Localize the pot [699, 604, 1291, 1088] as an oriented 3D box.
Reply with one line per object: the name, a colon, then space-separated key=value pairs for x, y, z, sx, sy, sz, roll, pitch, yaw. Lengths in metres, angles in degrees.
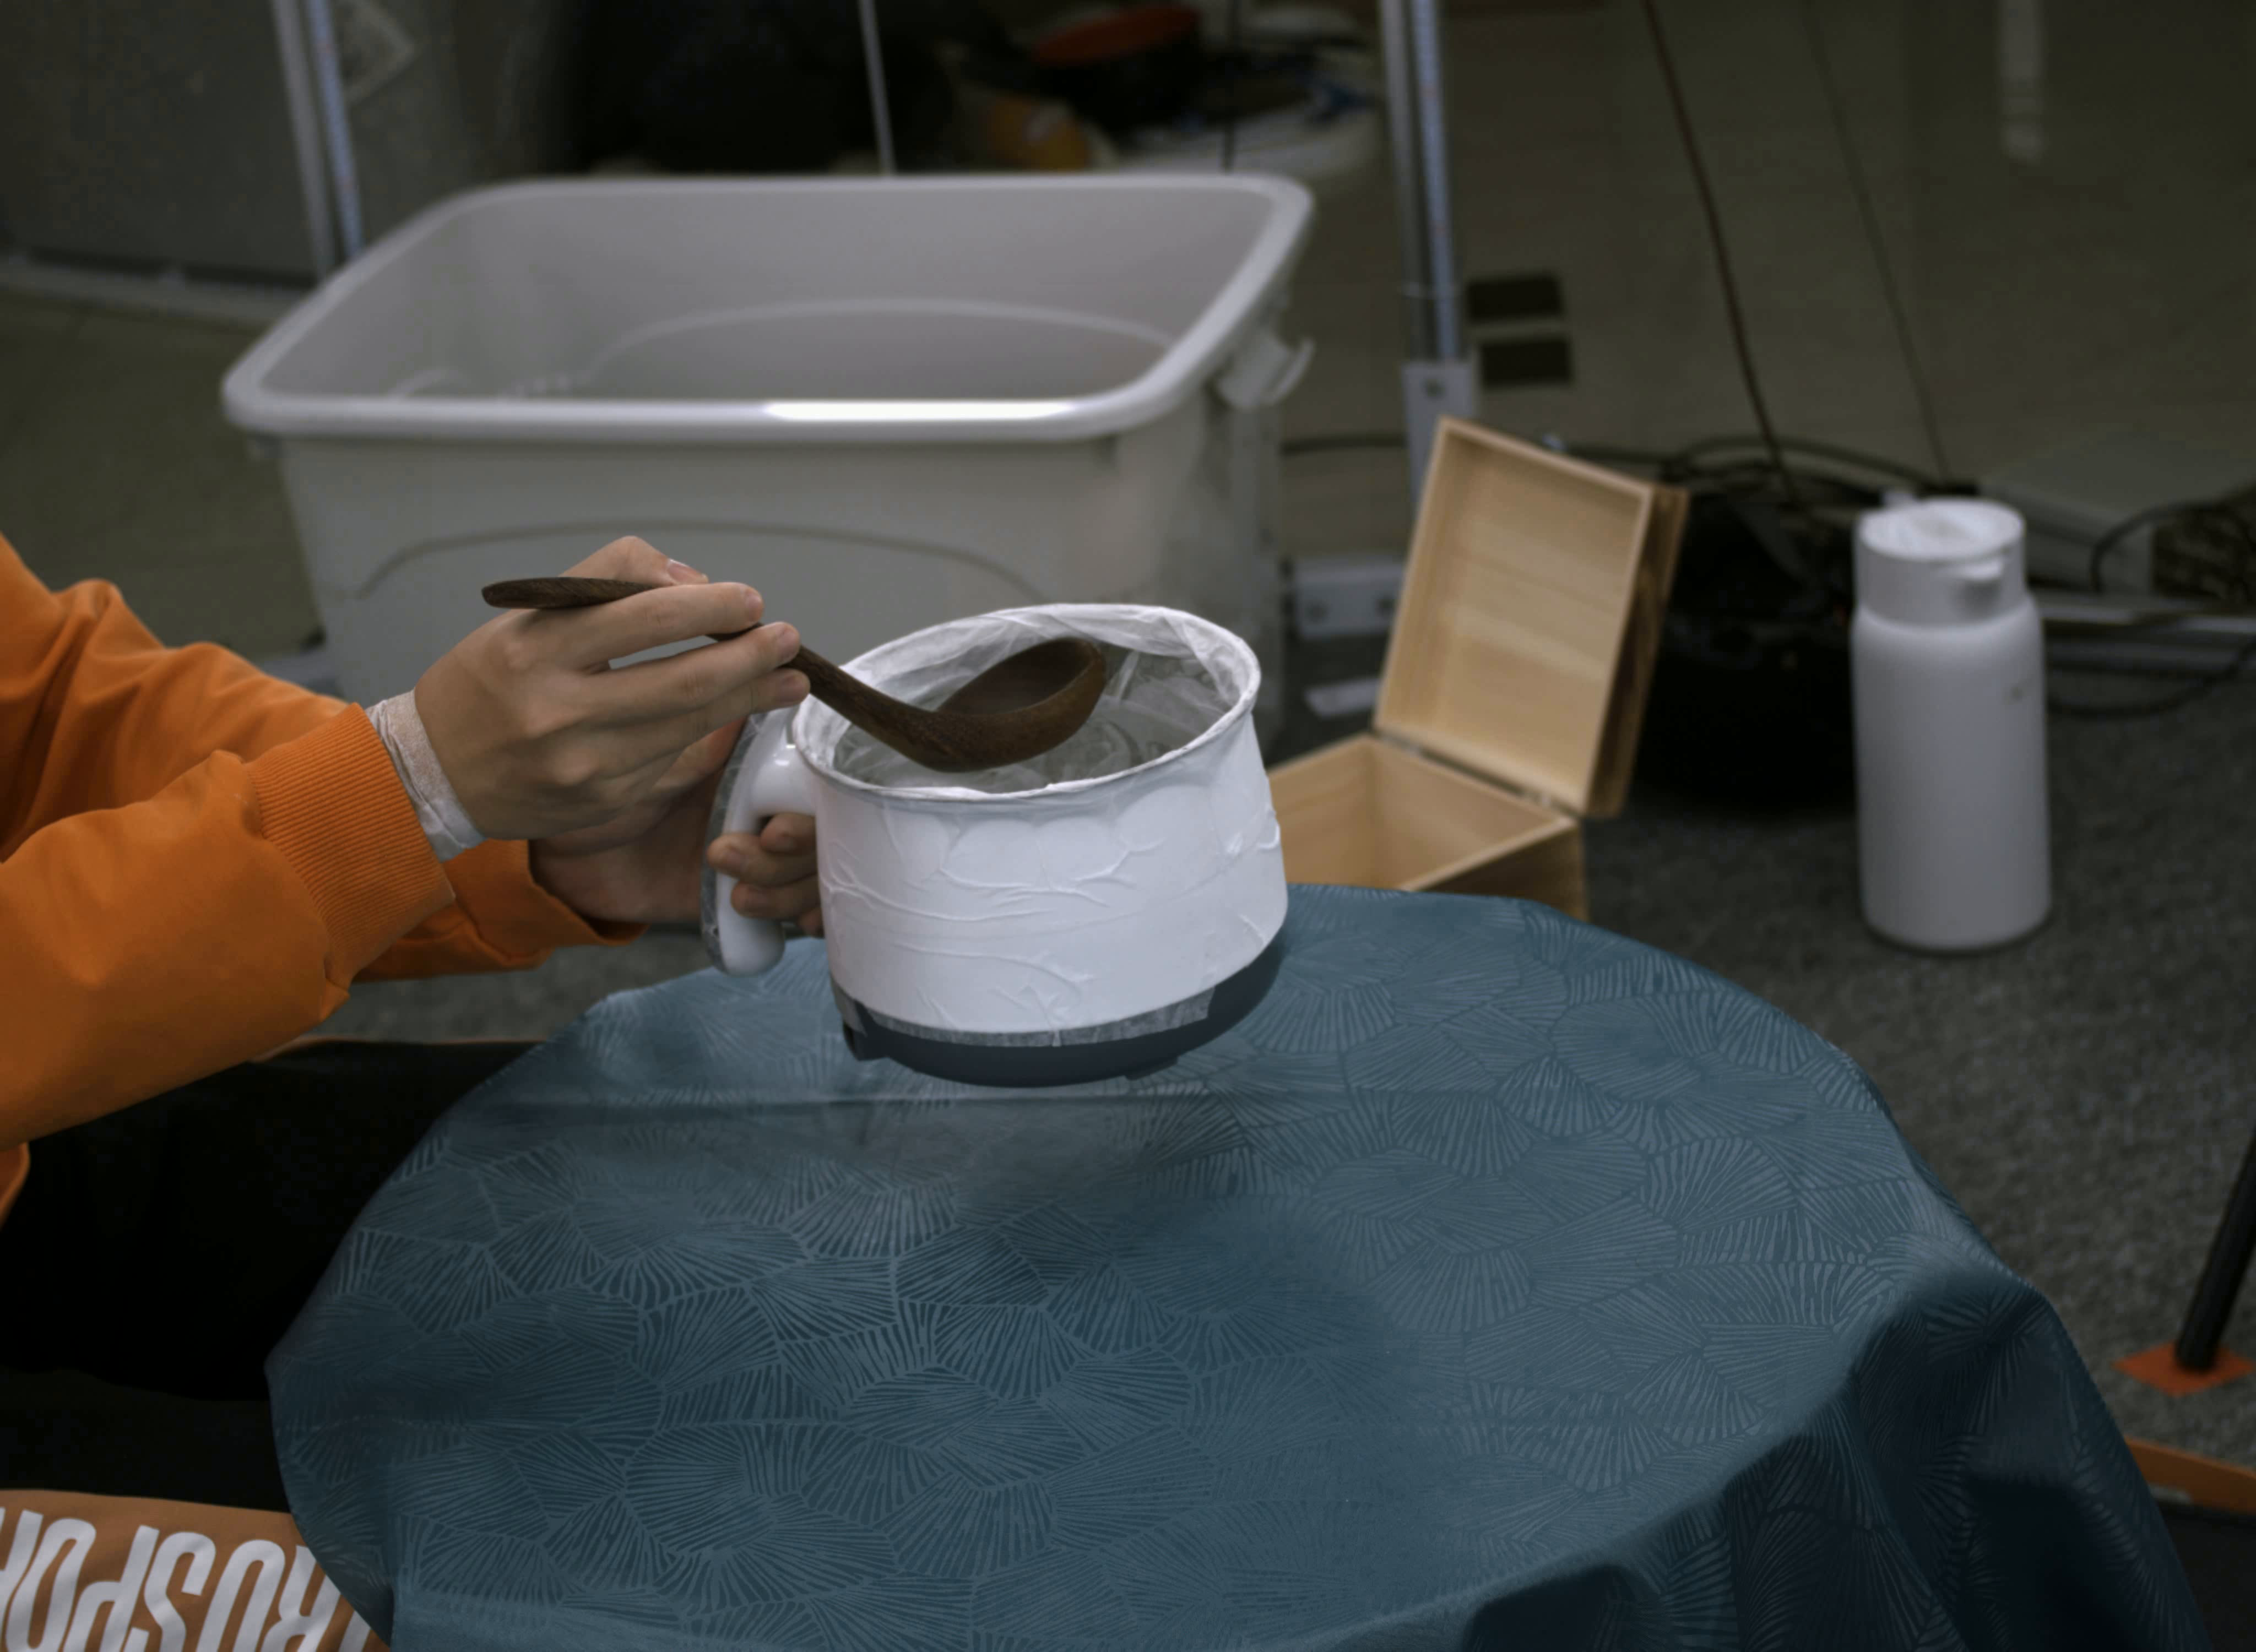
pot: x=-0.056 y=0.009 z=2.149 sx=0.233 sy=0.139 sz=0.176 roll=1 pitch=26 yaw=17

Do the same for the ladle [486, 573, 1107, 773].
ladle: x=-0.118 y=-0.077 z=2.053 sx=0.076 sy=0.070 sz=0.276 roll=-14 pitch=-25 yaw=43
